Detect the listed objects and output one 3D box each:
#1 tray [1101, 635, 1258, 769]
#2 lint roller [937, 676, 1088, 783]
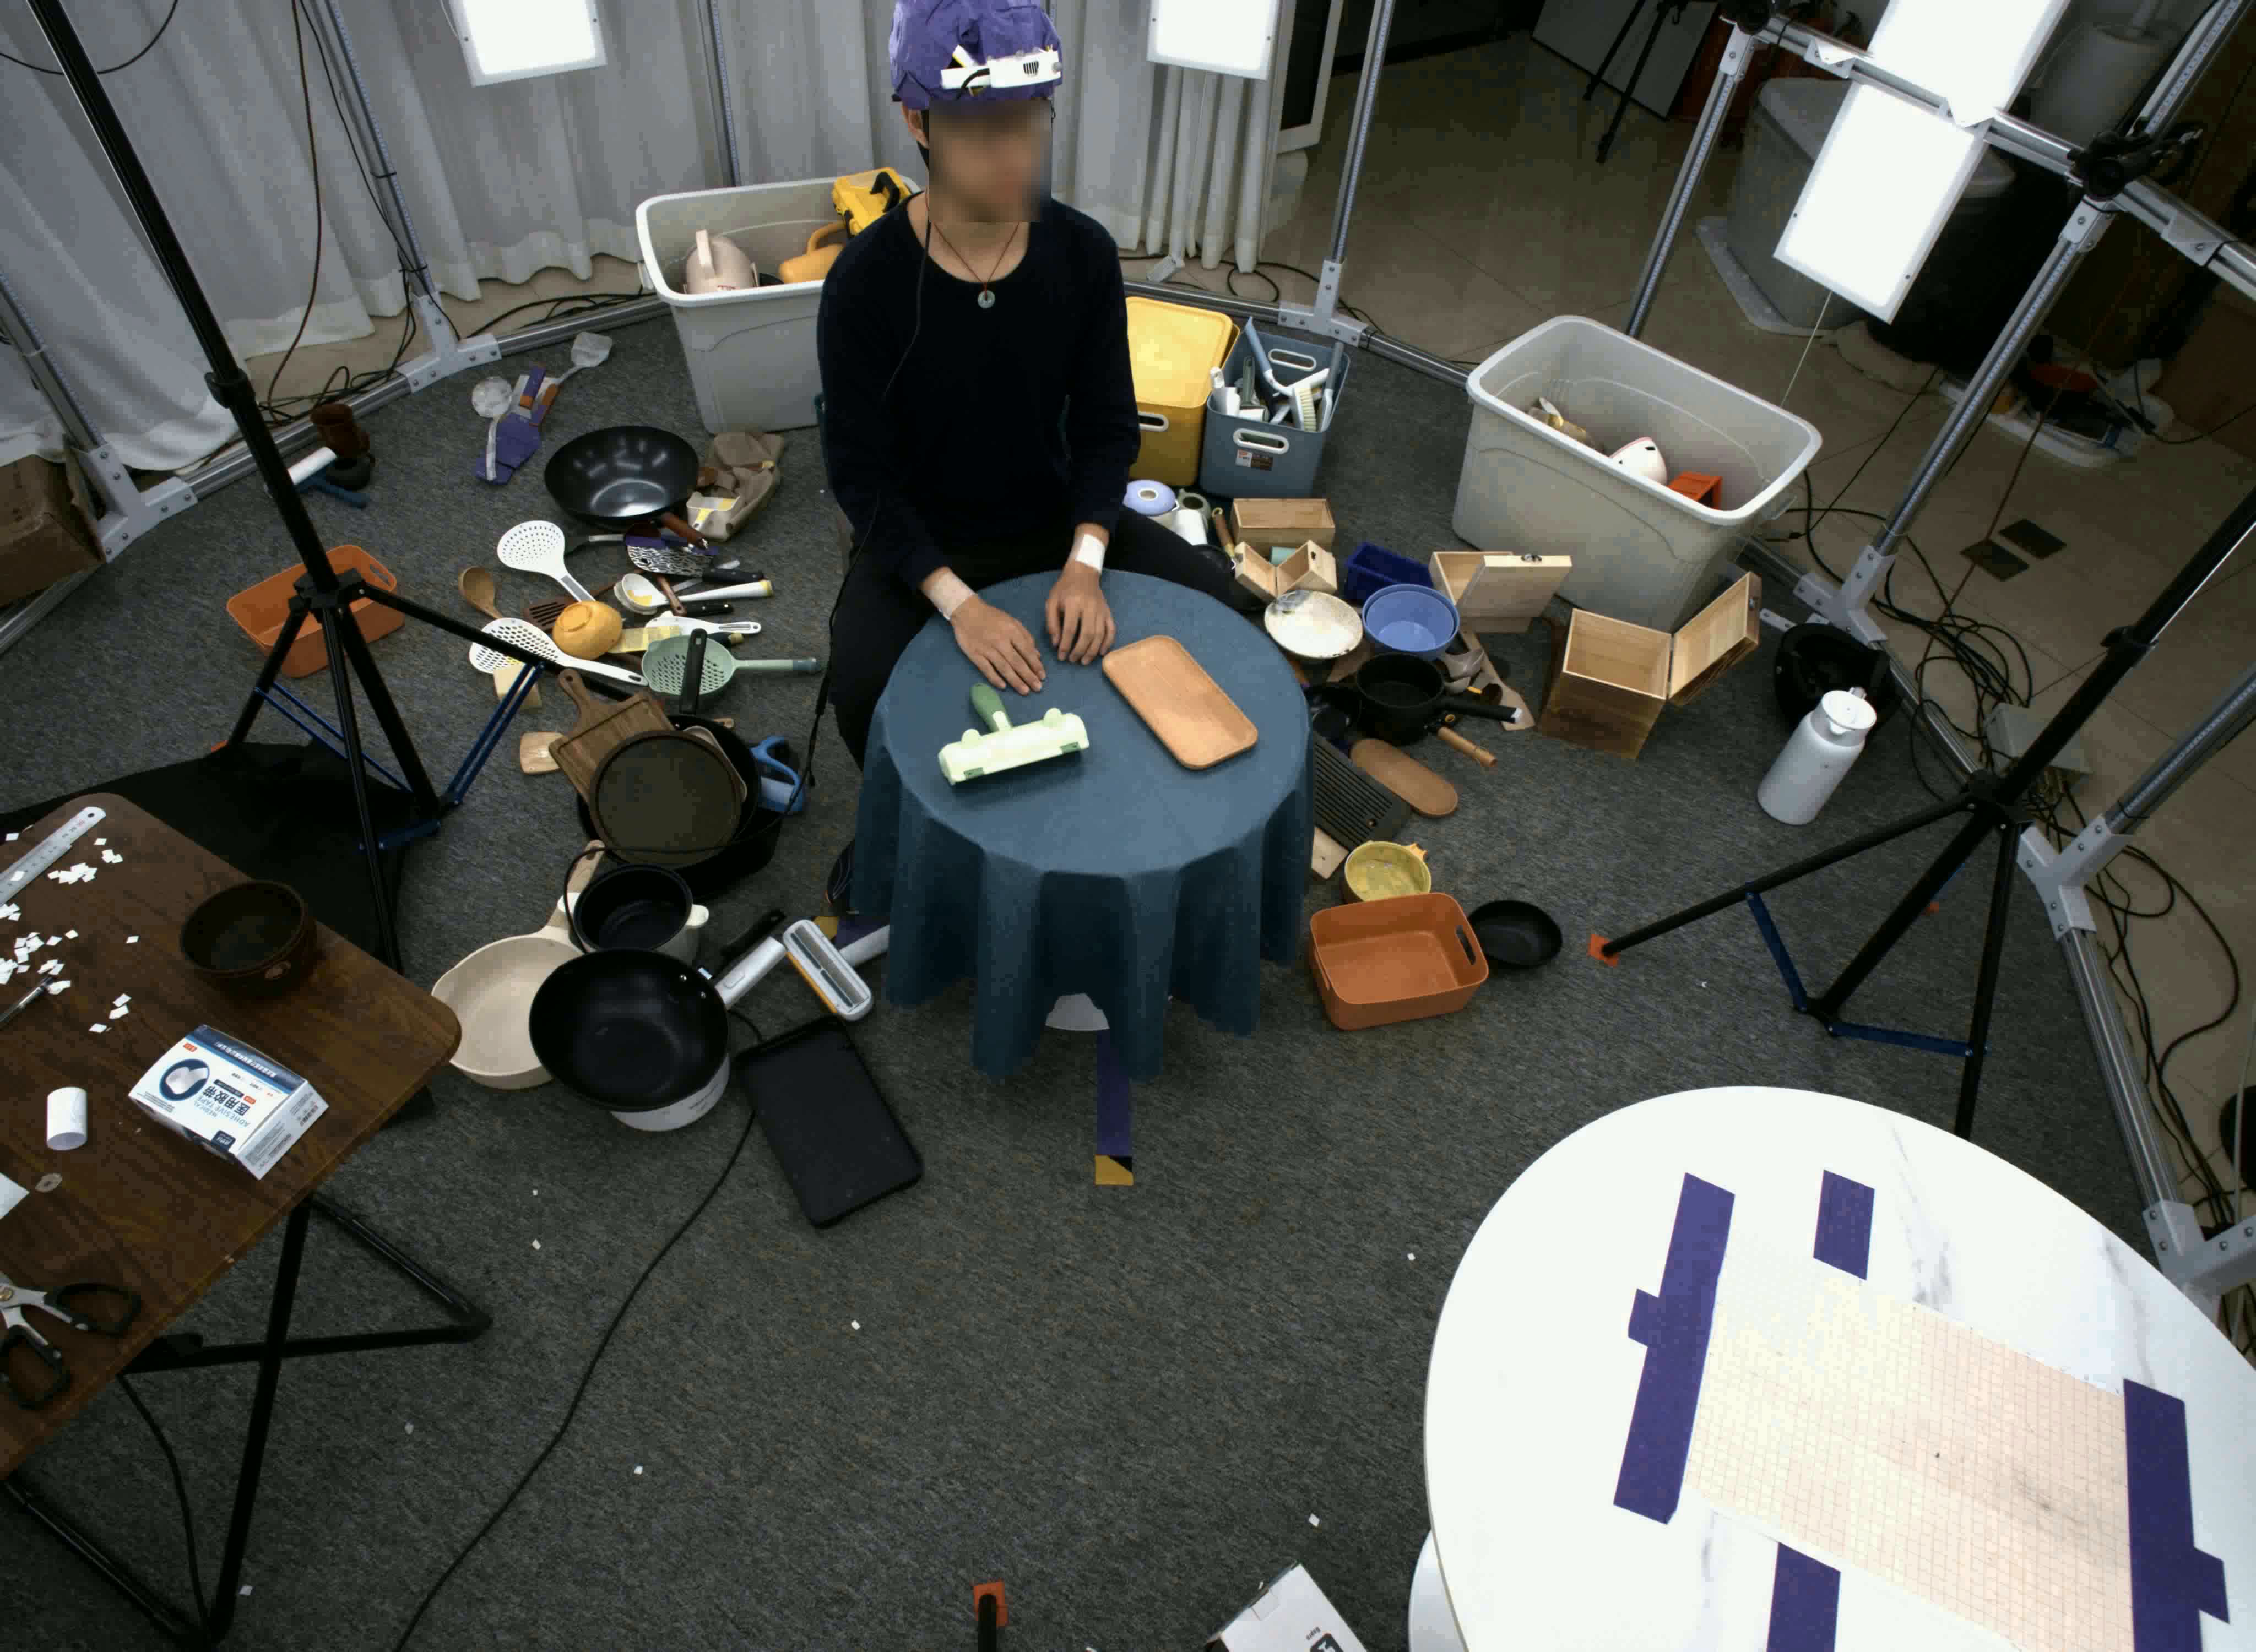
[{"bbox_3d":[0.070,-0.179,1.818,0.131,0.022,0.256,-22,53,-23],"label":"tray"},{"bbox_3d":[-0.175,-0.152,1.734,0.199,0.080,0.187,-16,58,-19],"label":"lint roller"}]
